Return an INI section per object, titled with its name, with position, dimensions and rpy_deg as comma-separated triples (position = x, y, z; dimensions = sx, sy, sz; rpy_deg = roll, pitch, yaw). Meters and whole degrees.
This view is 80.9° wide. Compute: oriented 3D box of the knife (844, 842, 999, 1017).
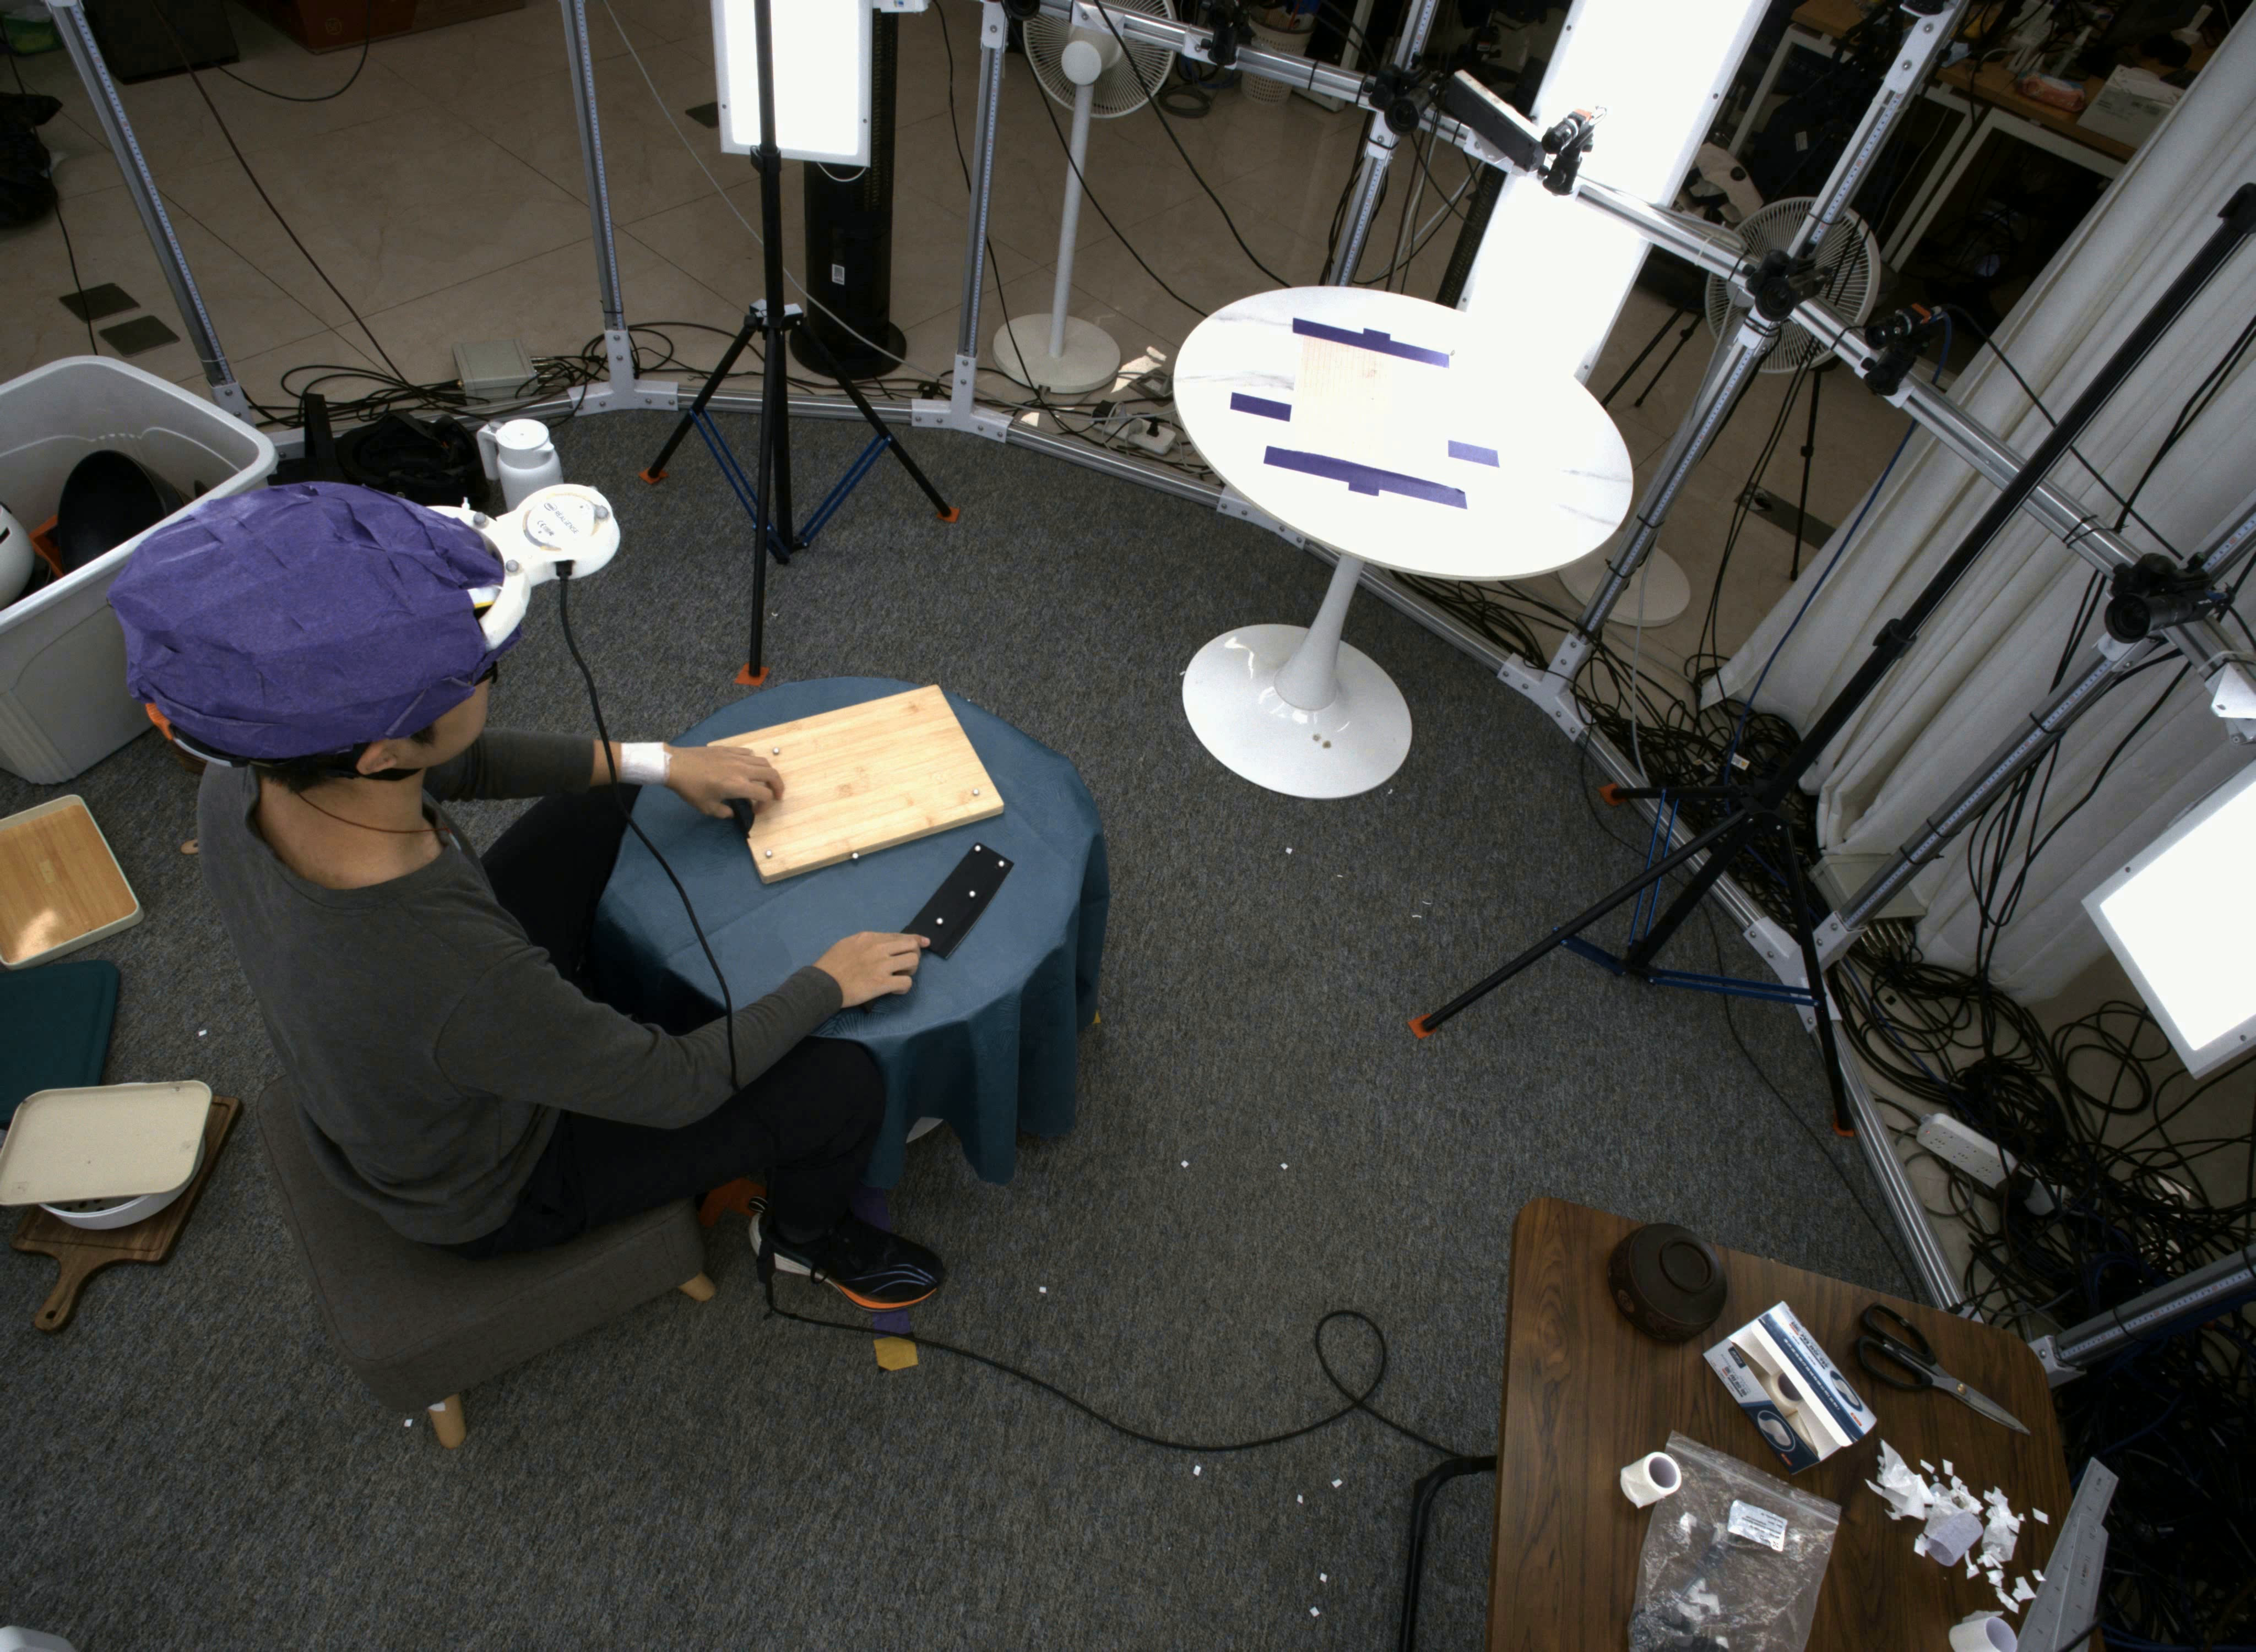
[knife]
position = -0.264, 0.129, 1.672
dimensions = 0.080, 0.021, 0.301
rpy_deg = 33, 52, 7

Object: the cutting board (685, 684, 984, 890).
[cutting board]
position = -0.399, -0.062, 1.777
dimensions = 0.350, 0.024, 0.244
rpy_deg = -20, 61, -26
